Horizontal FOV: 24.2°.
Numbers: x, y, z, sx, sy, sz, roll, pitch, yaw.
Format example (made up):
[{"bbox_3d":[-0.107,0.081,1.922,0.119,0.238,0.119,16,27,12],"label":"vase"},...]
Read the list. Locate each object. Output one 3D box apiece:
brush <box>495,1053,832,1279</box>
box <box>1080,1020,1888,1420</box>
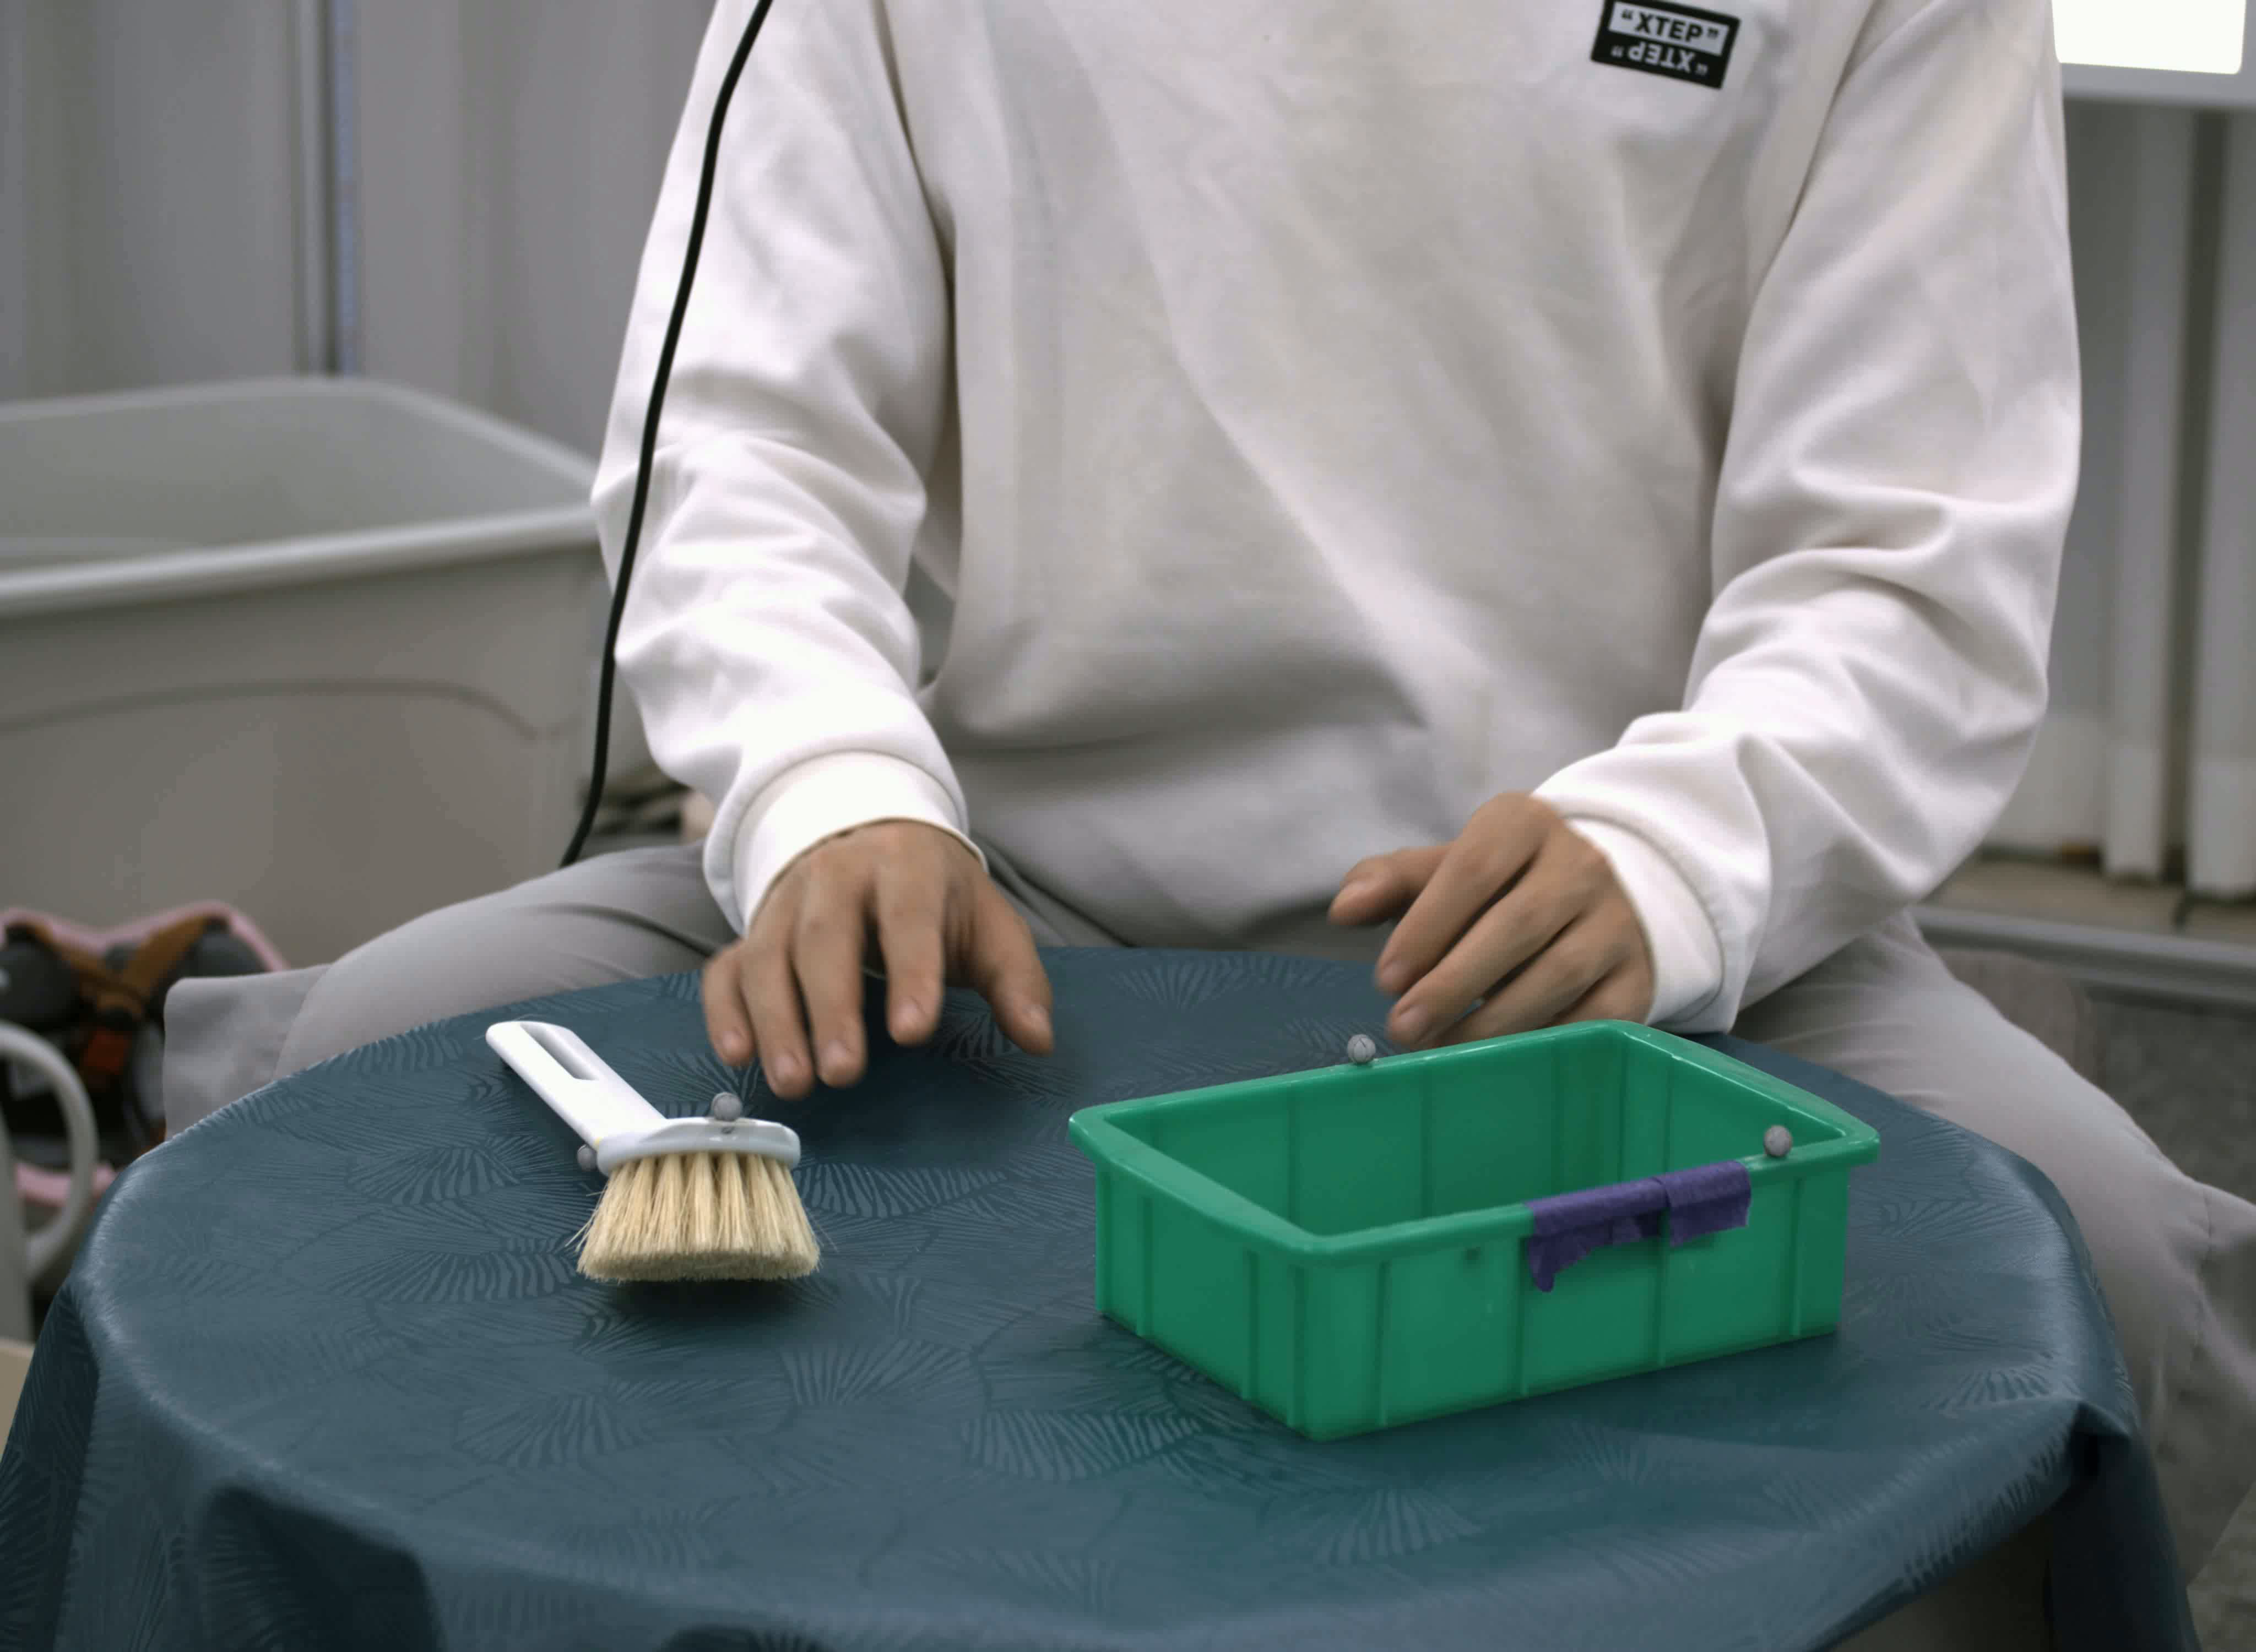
[{"bbox_3d":[-0.153,0.103,1.624,0.069,0.056,0.264,12,-4,-21],"label":"brush"},{"bbox_3d":[0.101,0.112,1.517,0.211,0.066,0.137,-6,17,-32],"label":"box"}]
